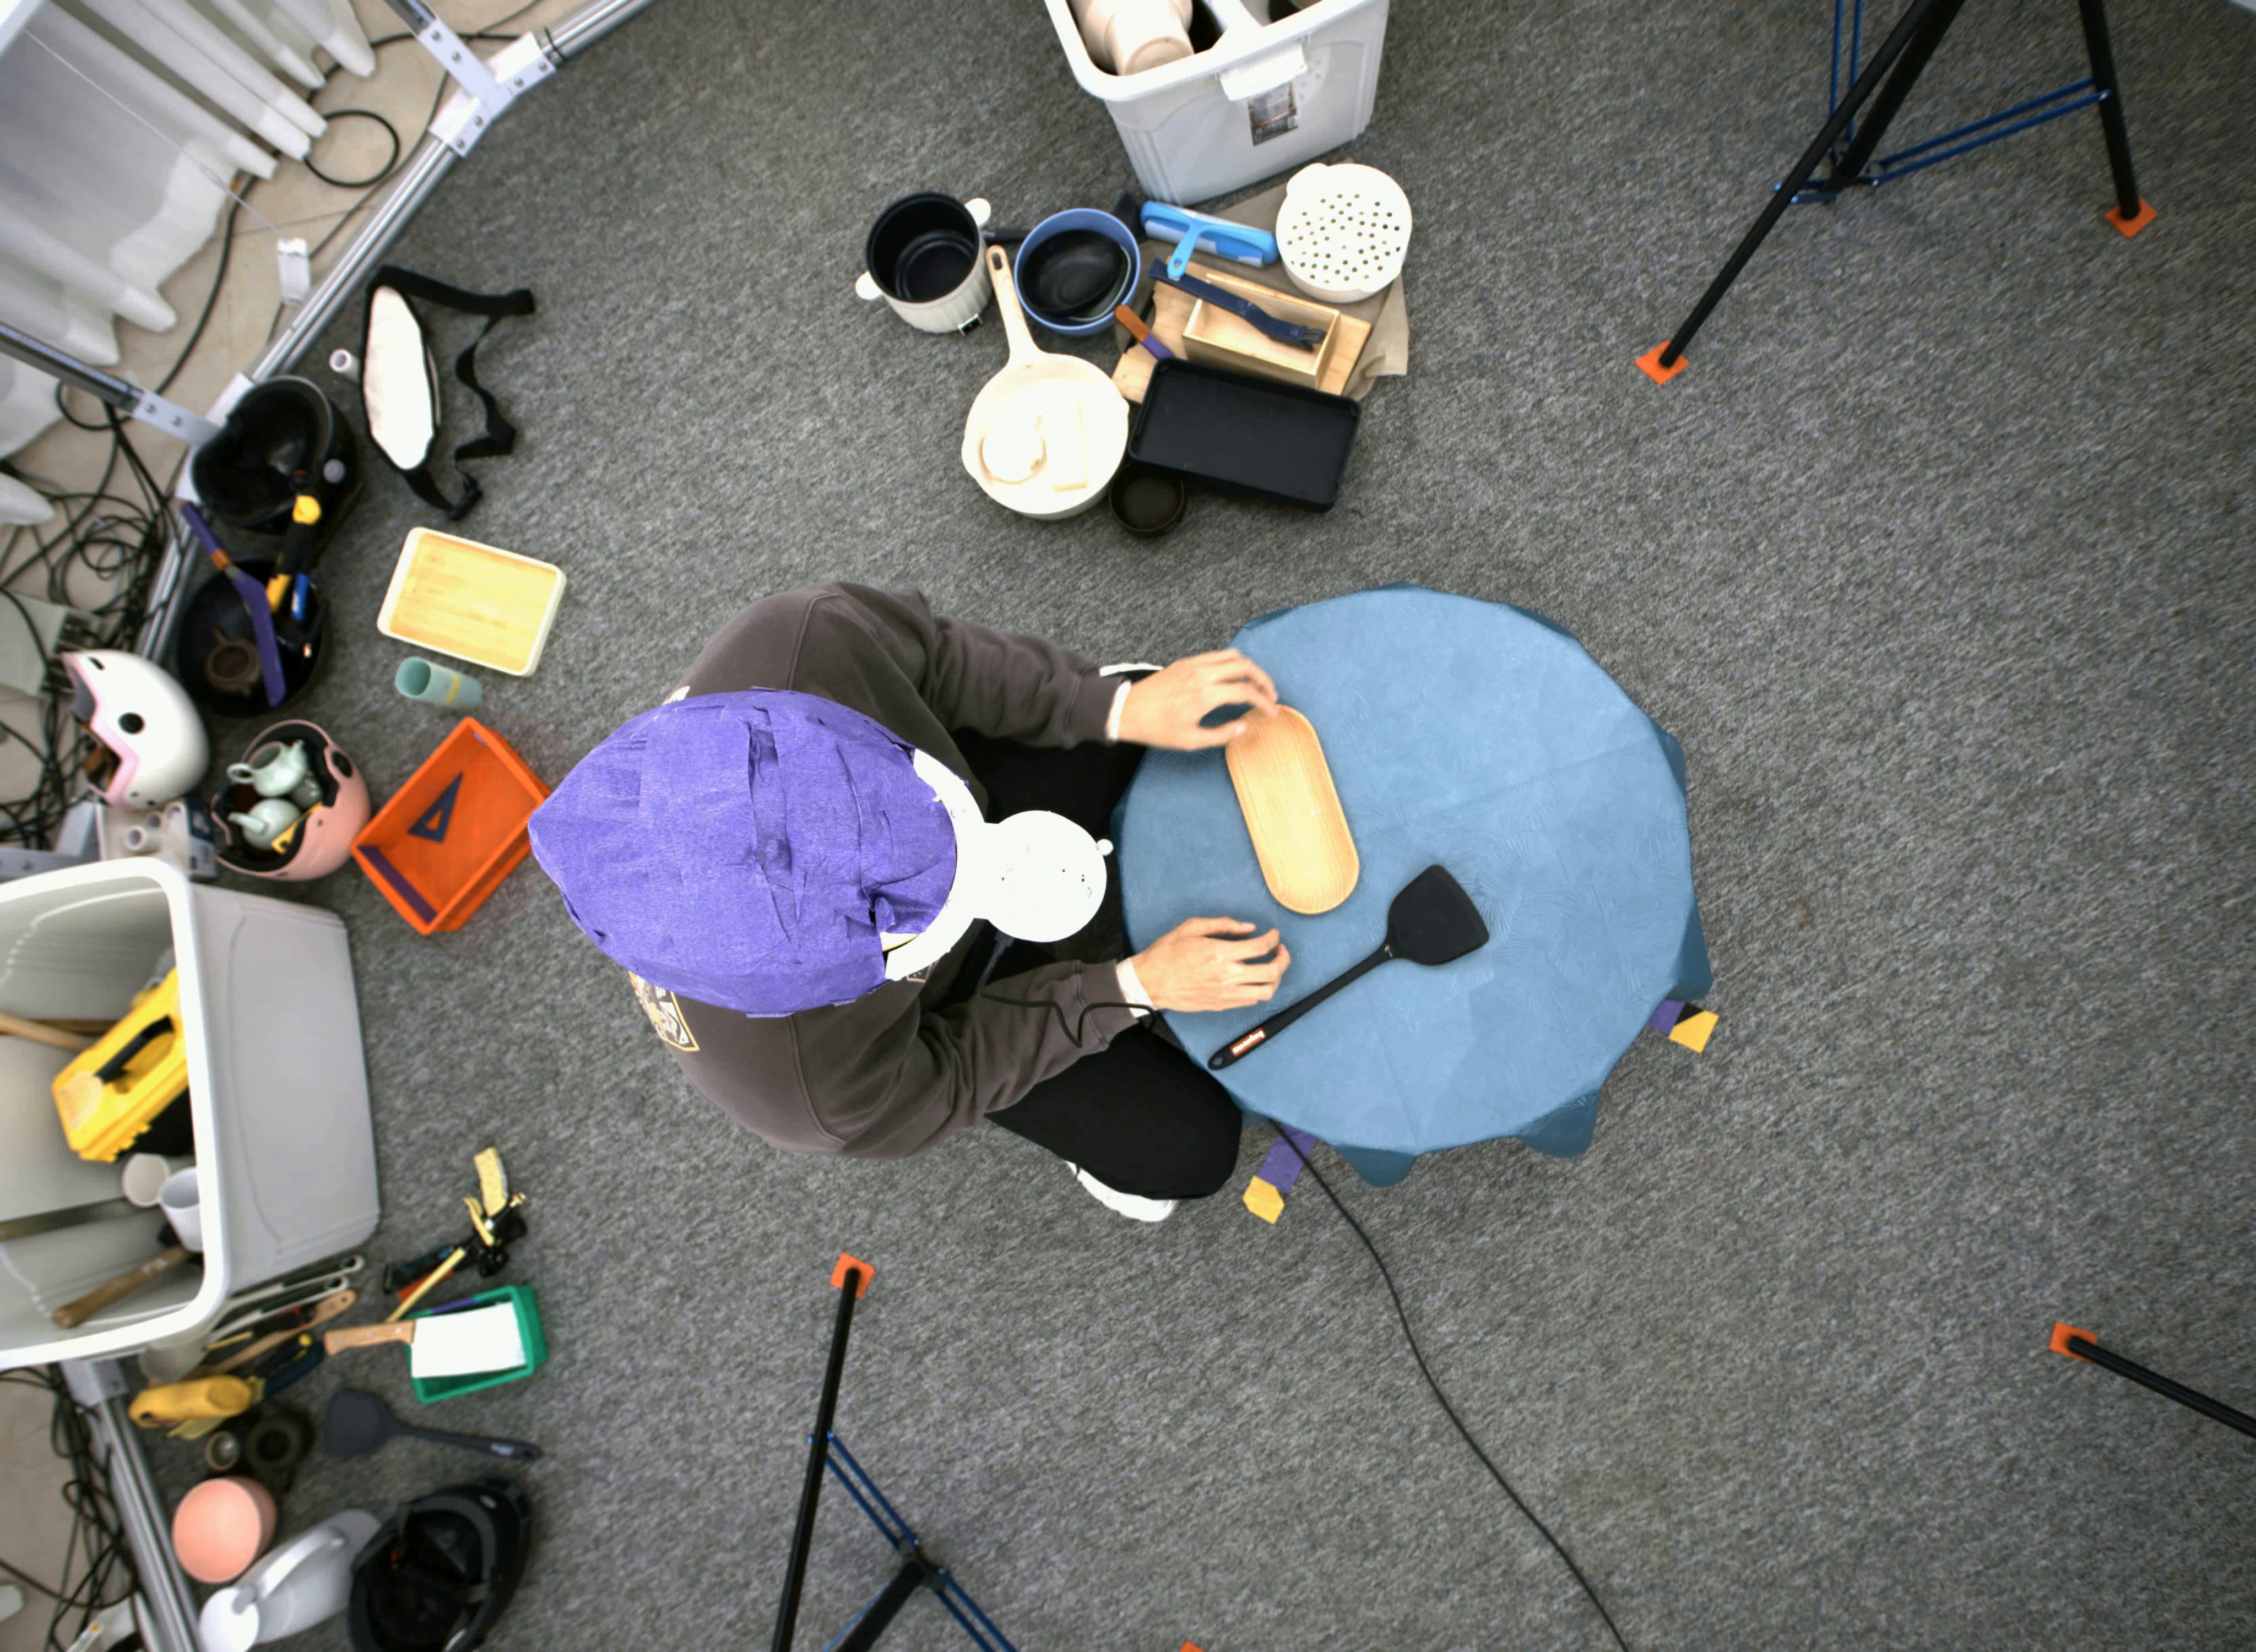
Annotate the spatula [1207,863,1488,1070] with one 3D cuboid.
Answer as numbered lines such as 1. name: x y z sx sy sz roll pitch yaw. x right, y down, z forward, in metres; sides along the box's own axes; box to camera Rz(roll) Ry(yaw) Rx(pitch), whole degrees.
1. spatula: 0.217 0.163 1.445 0.328 0.040 0.099 -34 80 7

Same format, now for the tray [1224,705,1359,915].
1. tray: 0.174 -0.018 1.472 0.102 0.020 0.230 -19 85 10
